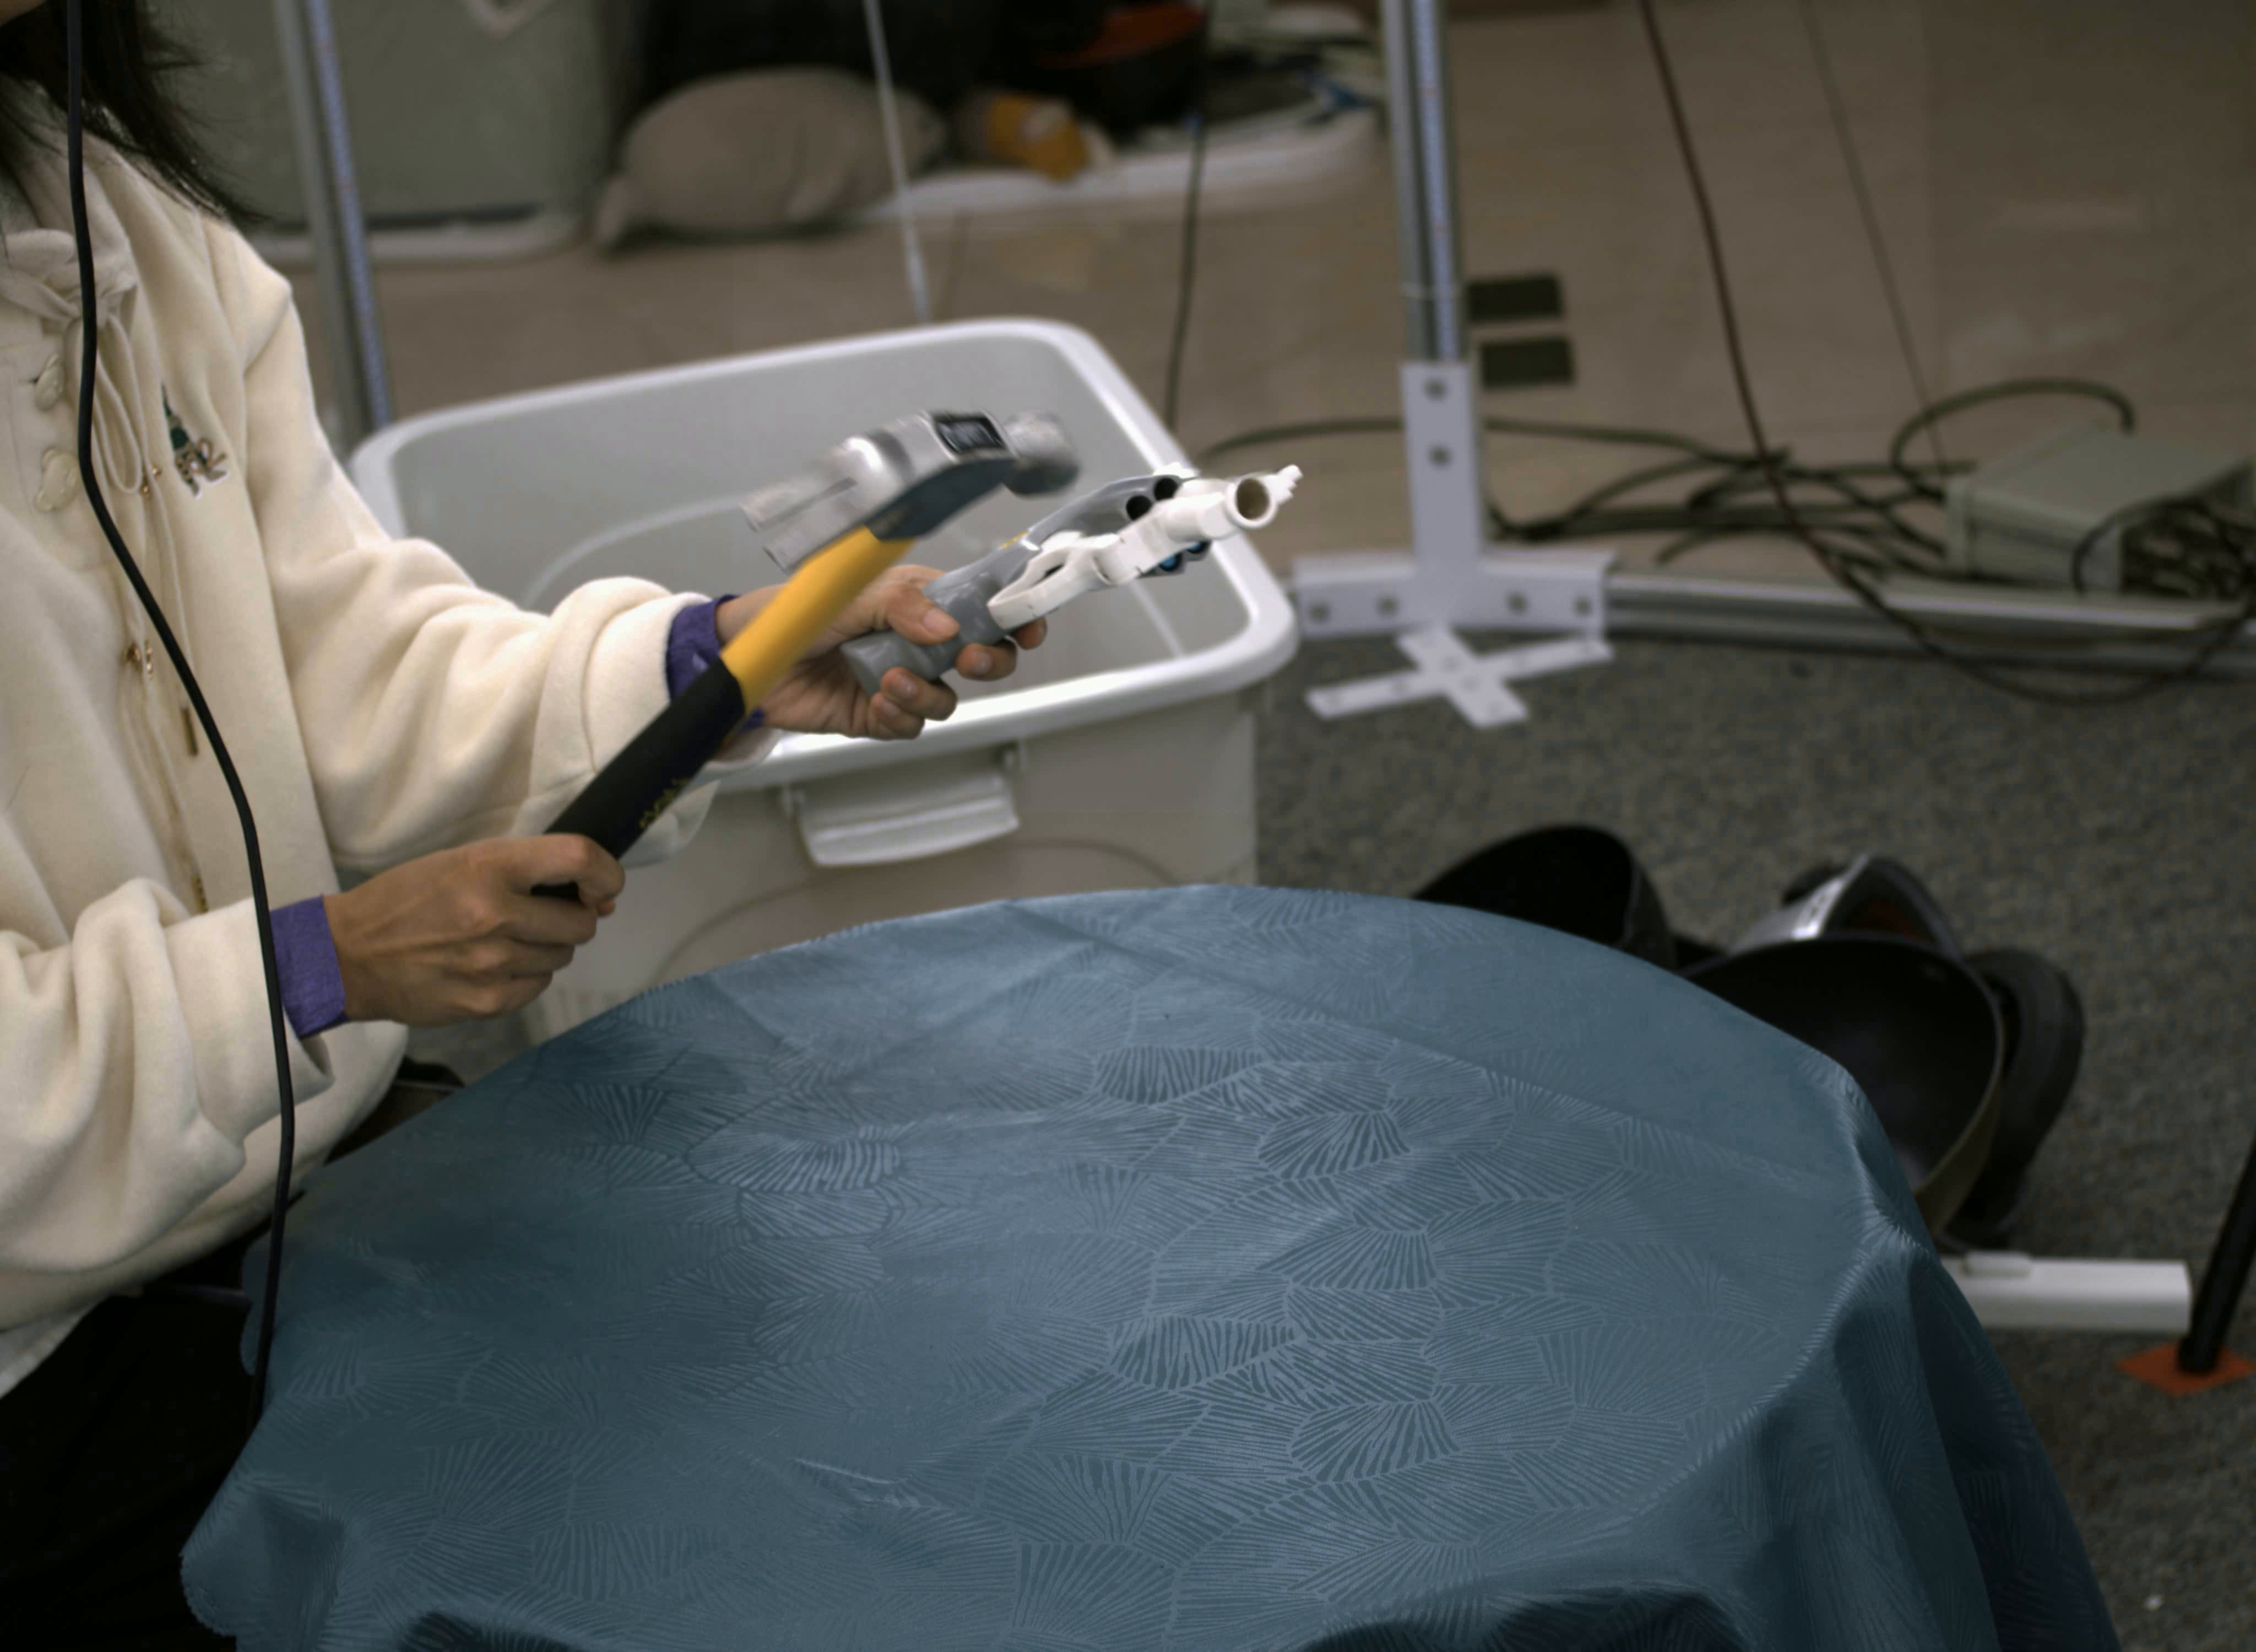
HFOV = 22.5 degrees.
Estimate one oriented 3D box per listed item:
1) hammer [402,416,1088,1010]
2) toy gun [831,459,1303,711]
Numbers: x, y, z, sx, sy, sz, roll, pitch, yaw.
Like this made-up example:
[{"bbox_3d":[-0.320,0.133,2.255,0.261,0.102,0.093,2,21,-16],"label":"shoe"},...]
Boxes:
[{"bbox_3d":[-0.160,-0.039,2.096,0.131,0.342,0.032,-12,64,-55],"label":"hammer"},{"bbox_3d":[-0.026,-0.096,2.138,0.141,0.039,0.209,-32,9,-17],"label":"toy gun"}]
